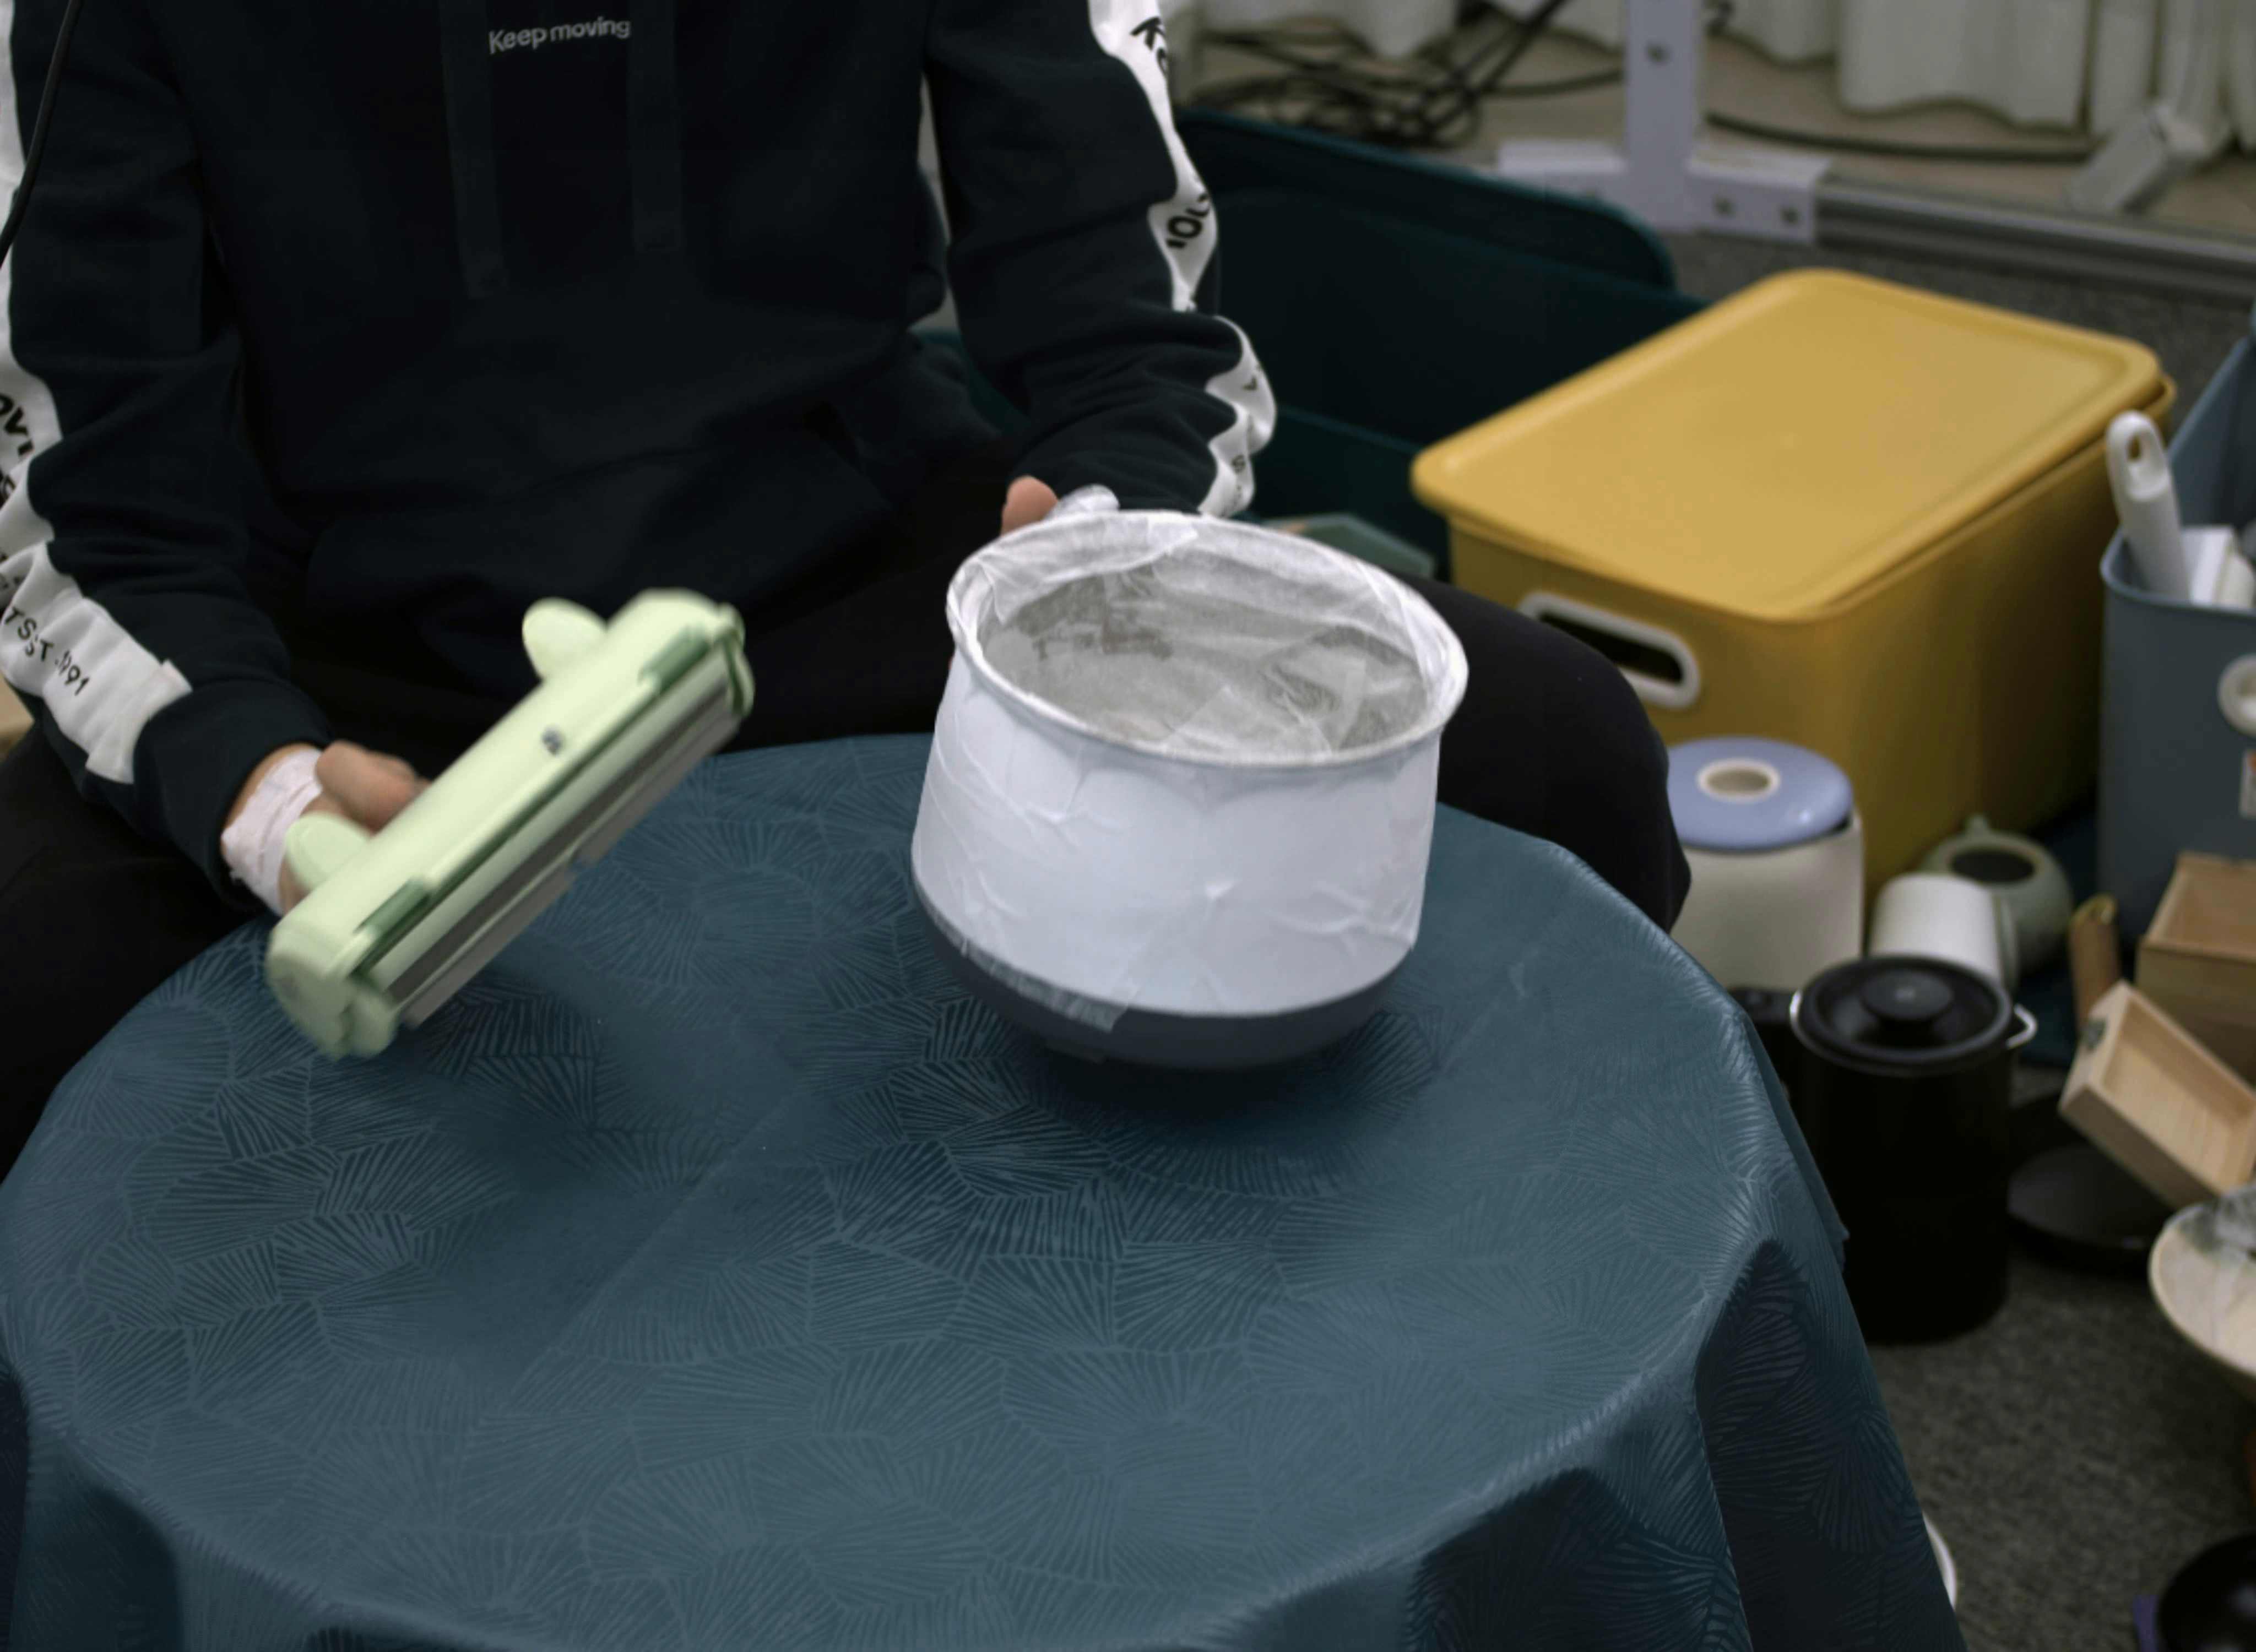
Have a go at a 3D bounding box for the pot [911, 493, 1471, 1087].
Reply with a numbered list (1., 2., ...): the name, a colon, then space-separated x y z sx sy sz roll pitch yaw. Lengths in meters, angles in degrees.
1. pot: 0.008 -0.020 1.932 0.179 0.135 0.236 -3 32 -24

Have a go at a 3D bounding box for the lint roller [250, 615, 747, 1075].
1. lint roller: -0.239 0.005 1.906 0.201 0.082 0.181 -43 17 -29
